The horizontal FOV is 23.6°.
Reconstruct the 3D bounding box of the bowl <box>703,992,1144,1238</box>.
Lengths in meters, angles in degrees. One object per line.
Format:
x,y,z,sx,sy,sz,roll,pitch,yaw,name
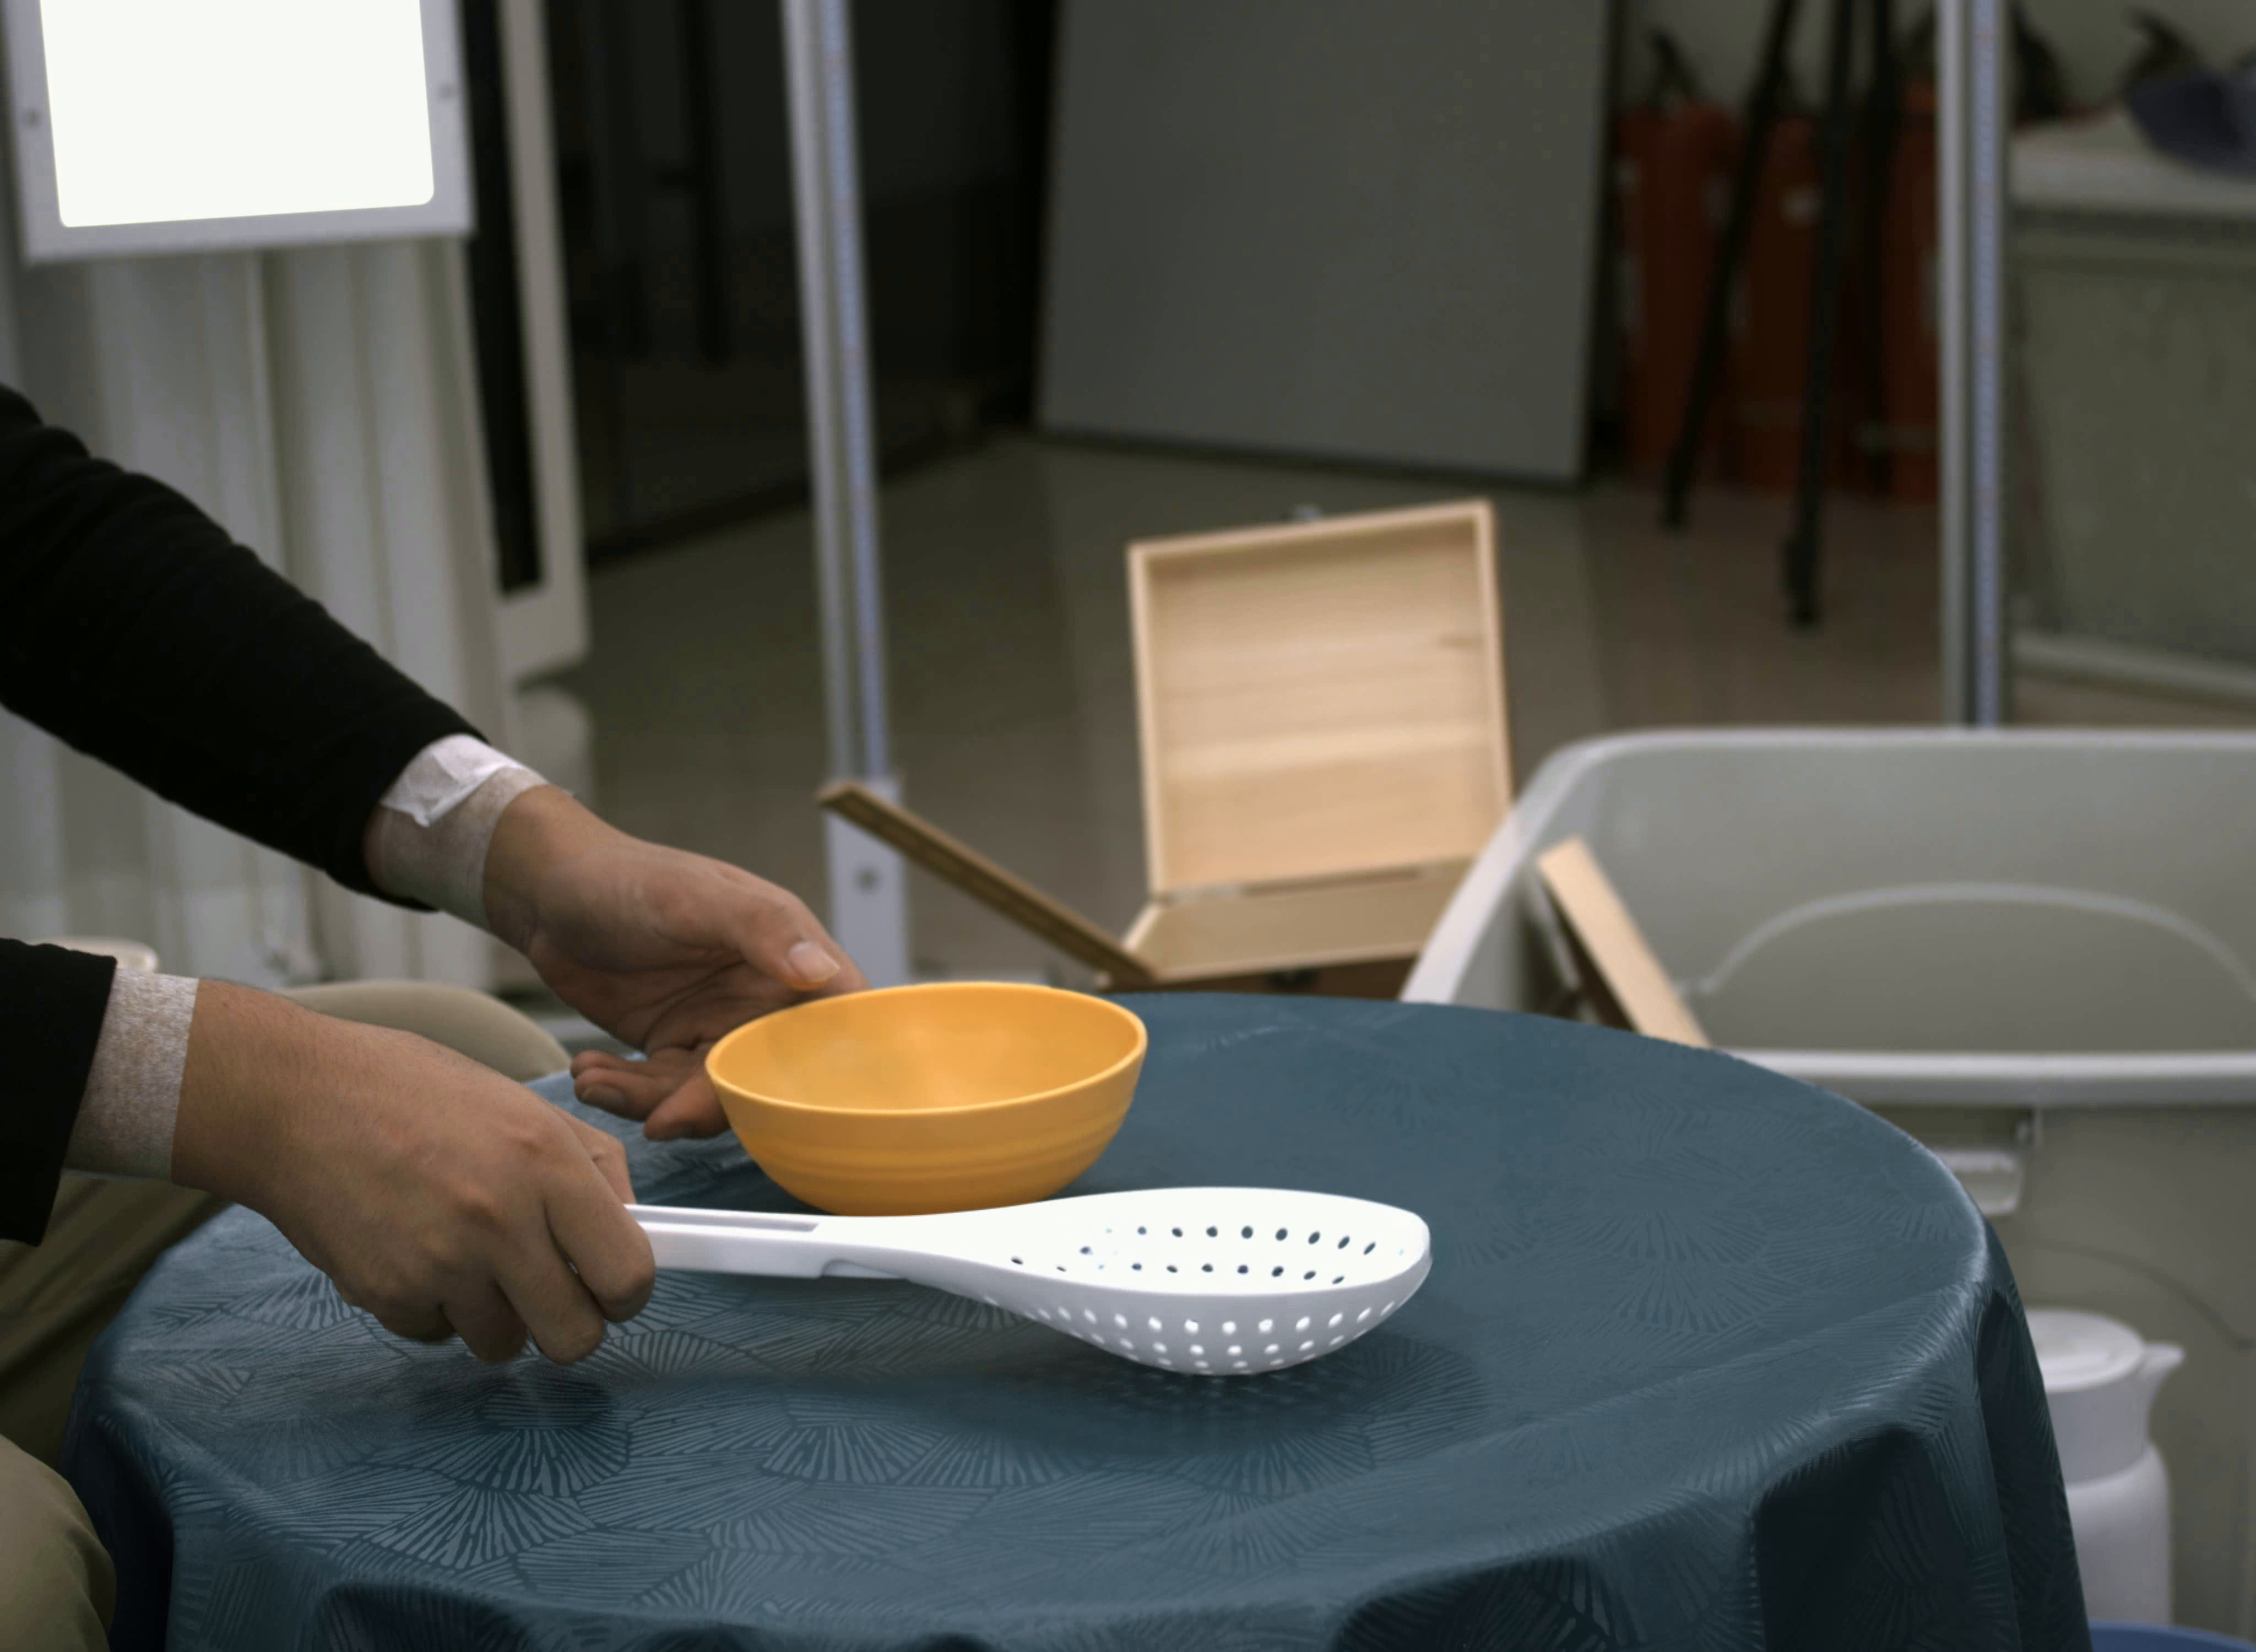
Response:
-0.065,0.101,1.754,0.143,0.061,0.145,-2,13,0,bowl

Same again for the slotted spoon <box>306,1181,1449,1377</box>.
-0.077,0.126,1.613,0.347,0.046,0.135,6,11,10,slotted spoon
